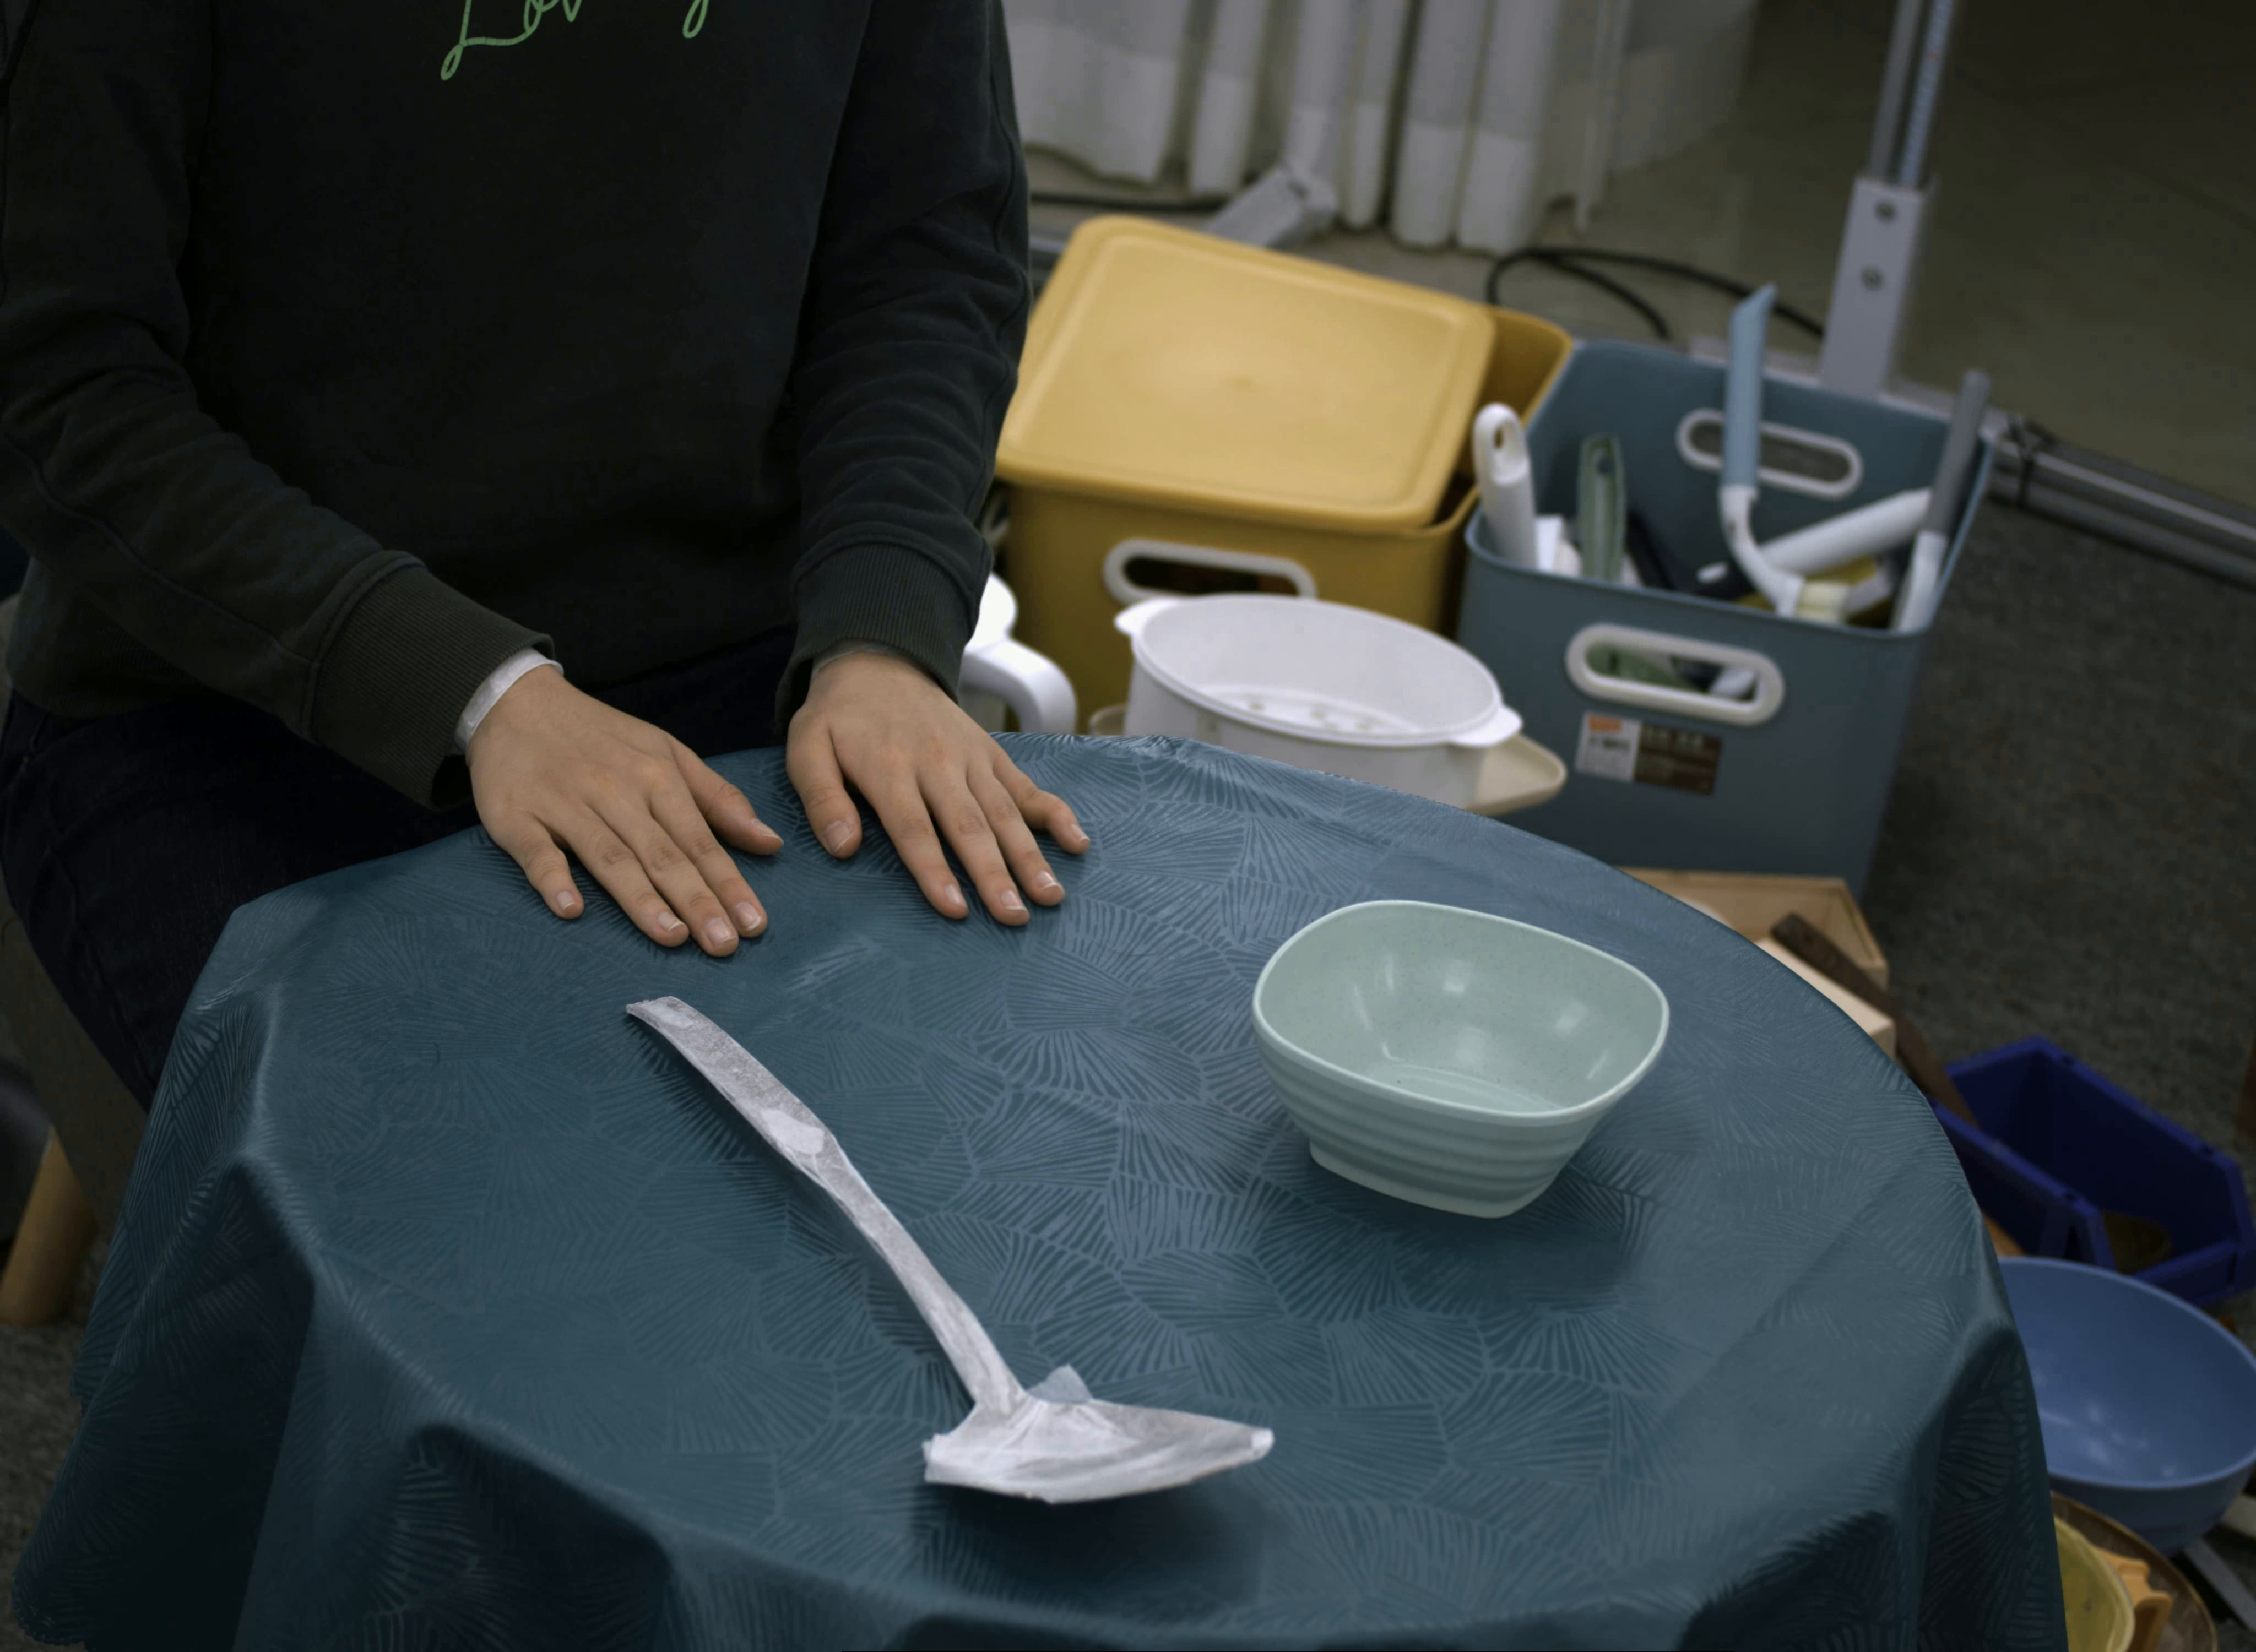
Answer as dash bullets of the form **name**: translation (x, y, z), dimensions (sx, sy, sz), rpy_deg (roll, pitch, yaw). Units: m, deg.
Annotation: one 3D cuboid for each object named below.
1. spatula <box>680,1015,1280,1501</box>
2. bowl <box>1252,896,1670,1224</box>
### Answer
- **spatula**: translation (-0.073, 0.131, 1.725), dimensions (0.098, 0.044, 0.368), rpy_deg (-10, 31, -26)
- **bowl**: translation (0.111, 0.087, 1.838), dimensions (0.151, 0.058, 0.152), rpy_deg (6, 28, -4)
